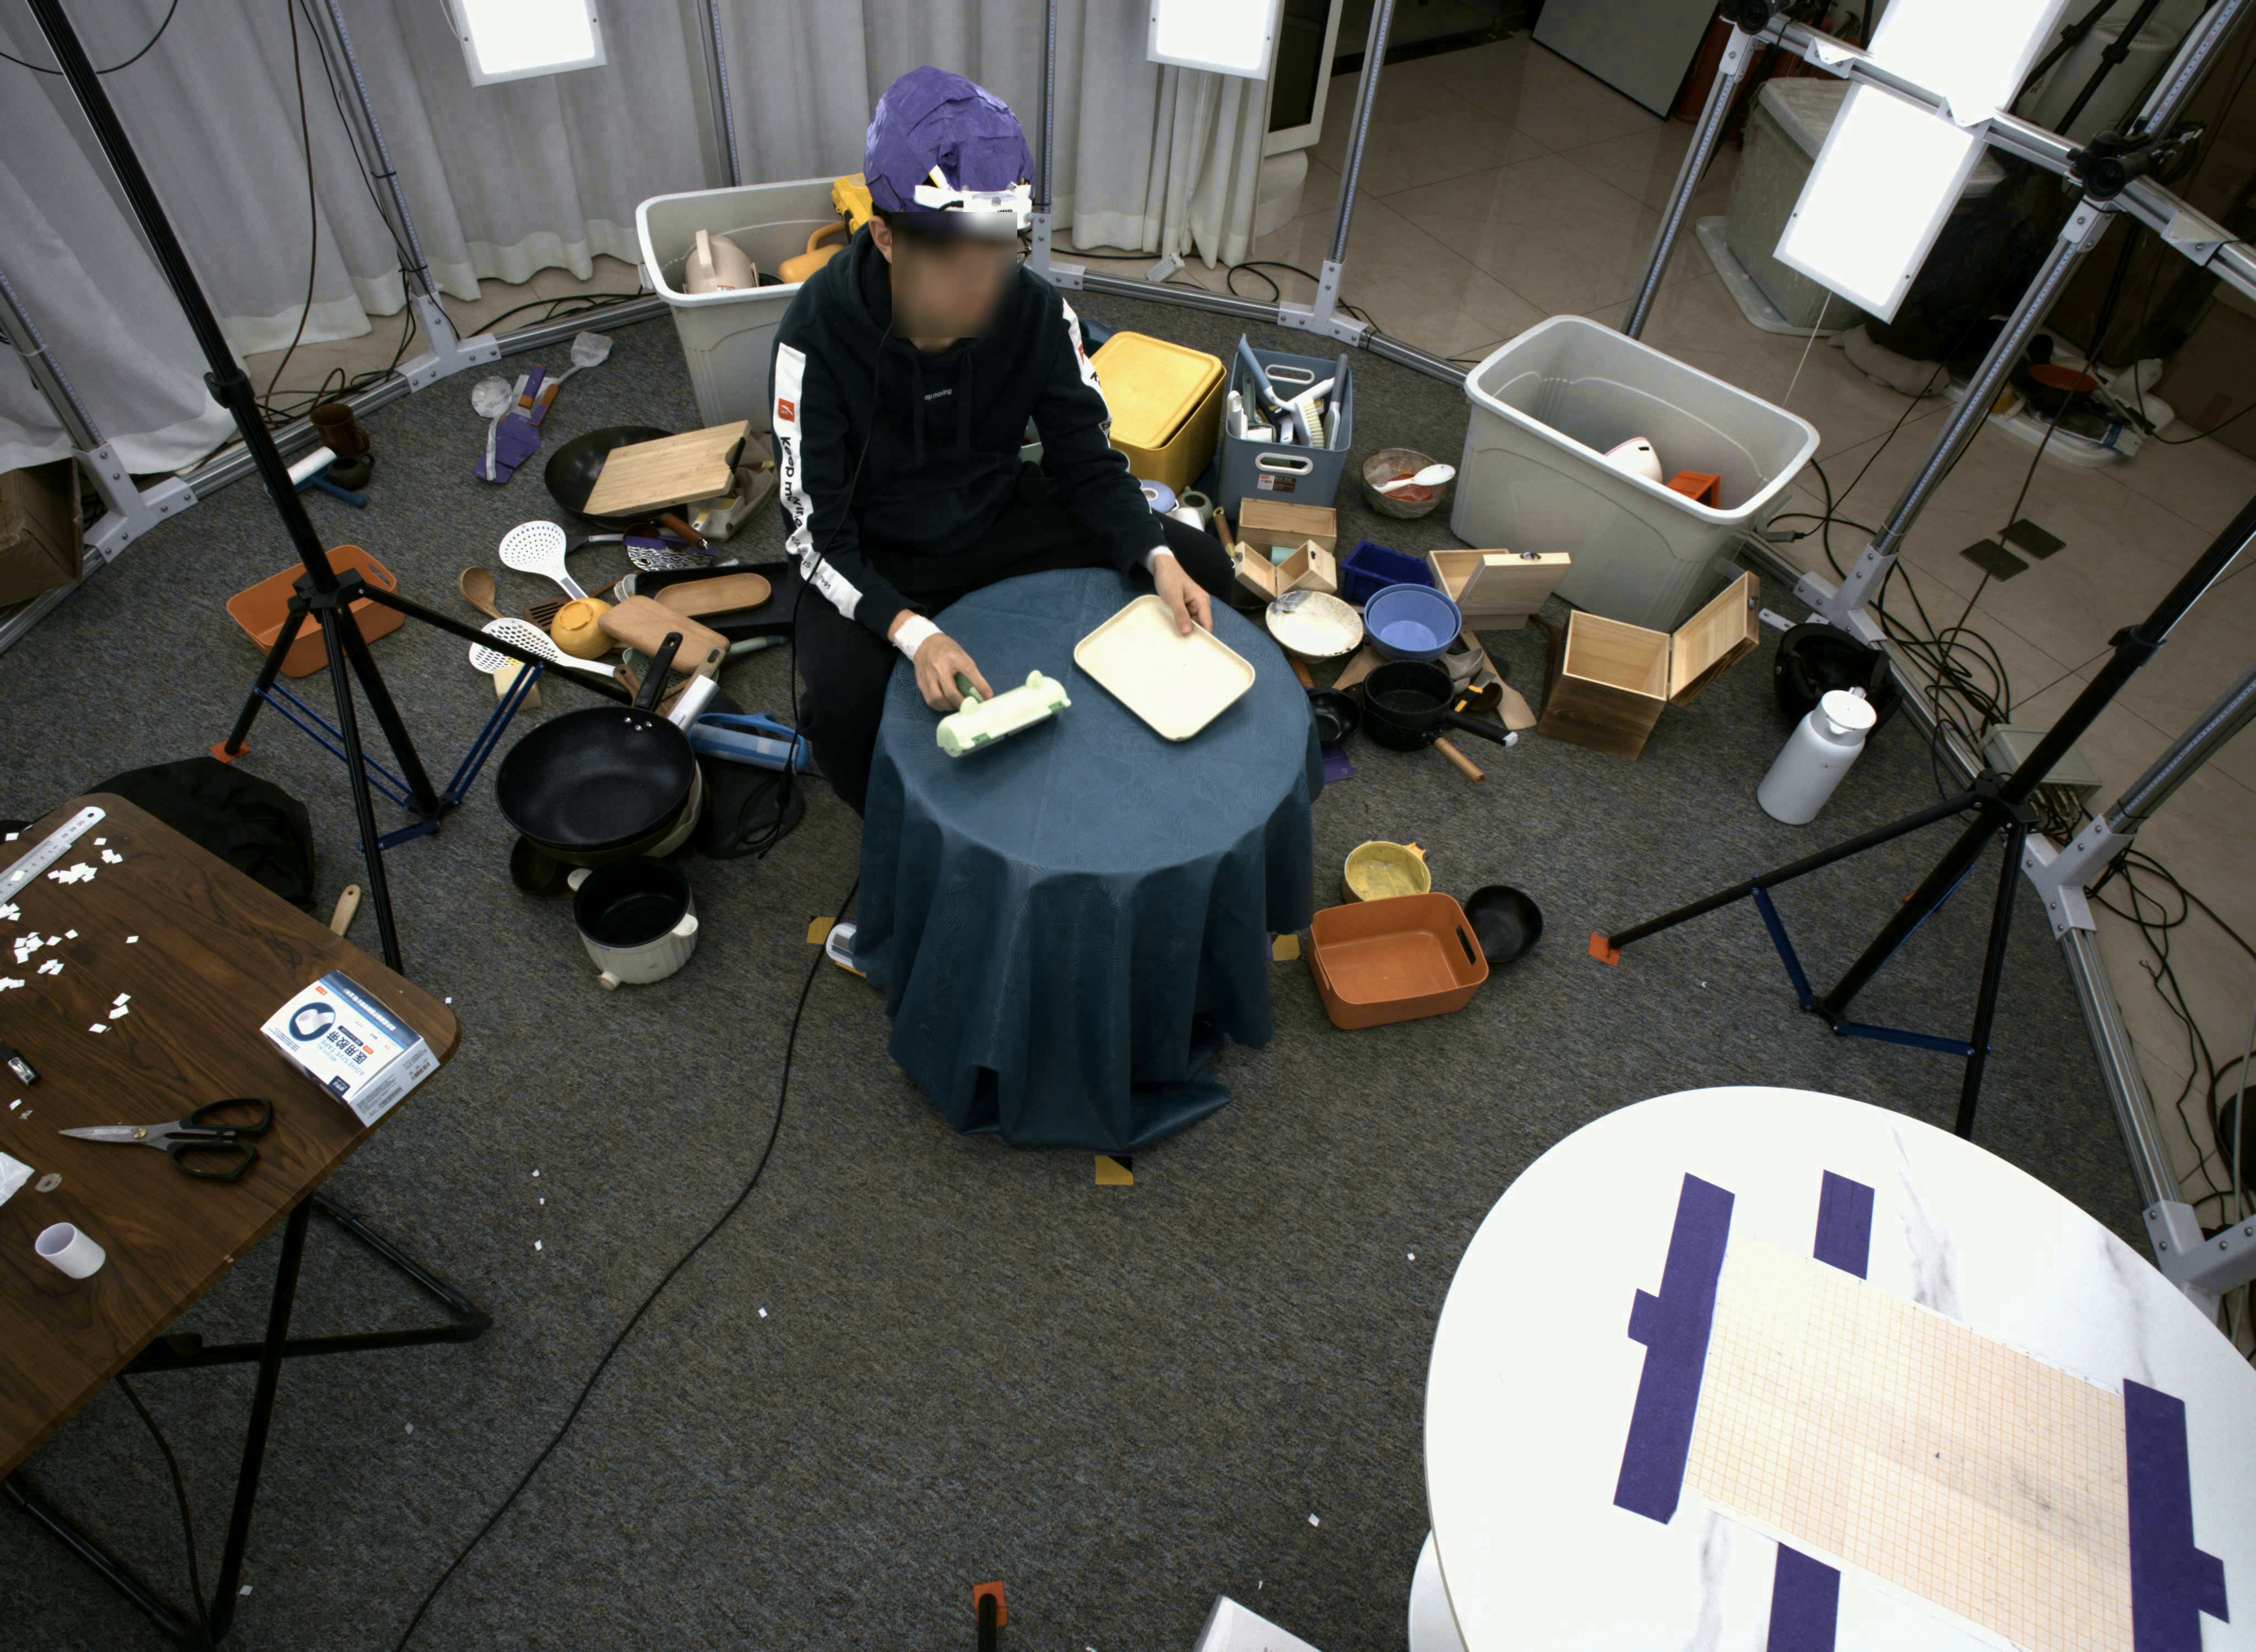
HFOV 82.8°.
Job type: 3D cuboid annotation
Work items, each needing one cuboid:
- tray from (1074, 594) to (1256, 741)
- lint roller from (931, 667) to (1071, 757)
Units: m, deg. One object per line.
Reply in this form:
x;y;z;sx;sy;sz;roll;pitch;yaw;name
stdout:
0.051;-0.228;1.837;0.172;0.017;0.243;-40;61;-18;tray
-0.205;-0.187;1.746;0.200;0.080;0.186;-28;56;-36;lint roller
